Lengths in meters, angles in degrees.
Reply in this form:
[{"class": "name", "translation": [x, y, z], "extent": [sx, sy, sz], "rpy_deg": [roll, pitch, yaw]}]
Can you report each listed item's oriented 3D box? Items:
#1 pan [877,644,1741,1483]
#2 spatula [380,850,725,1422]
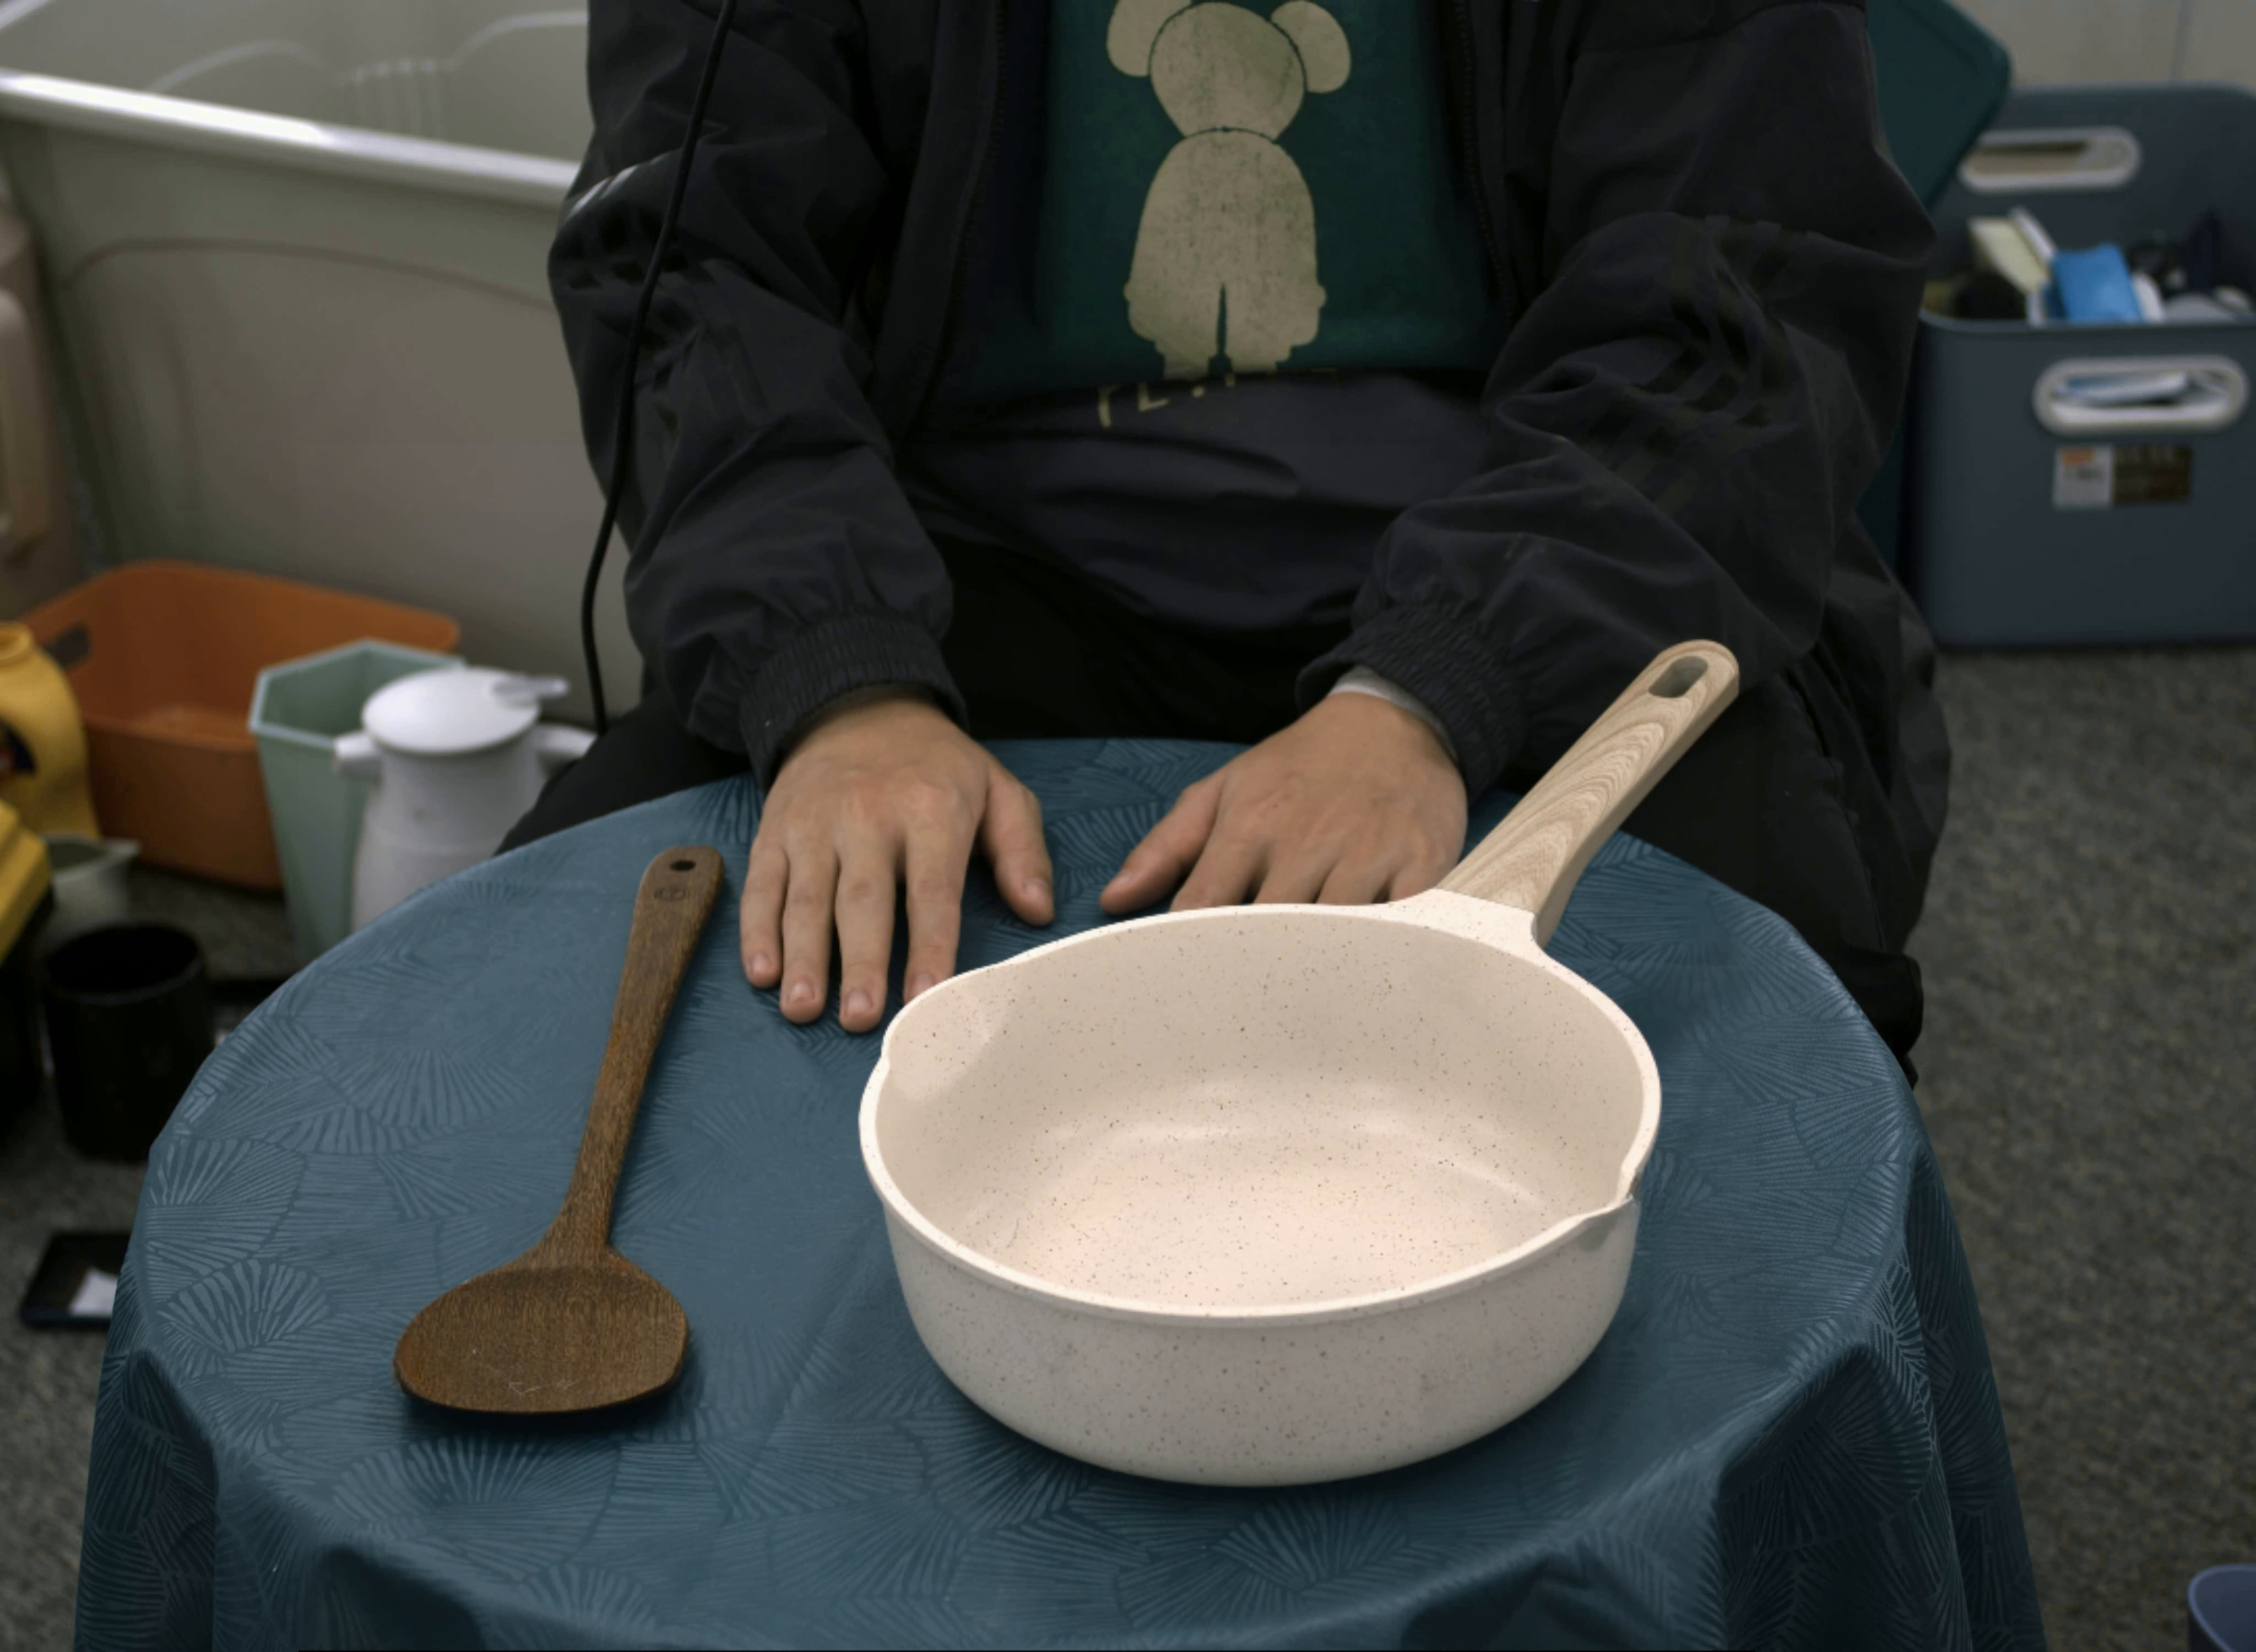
[{"class": "pan", "translation": [0.097, 0.073, 1.832], "extent": [0.262, 0.101, 0.442], "rpy_deg": [12, 31, 30]}, {"class": "spatula", "translation": [-0.175, 0.097, 1.908], "extent": [0.095, 0.015, 0.392], "rpy_deg": [0, 27, 4]}]
